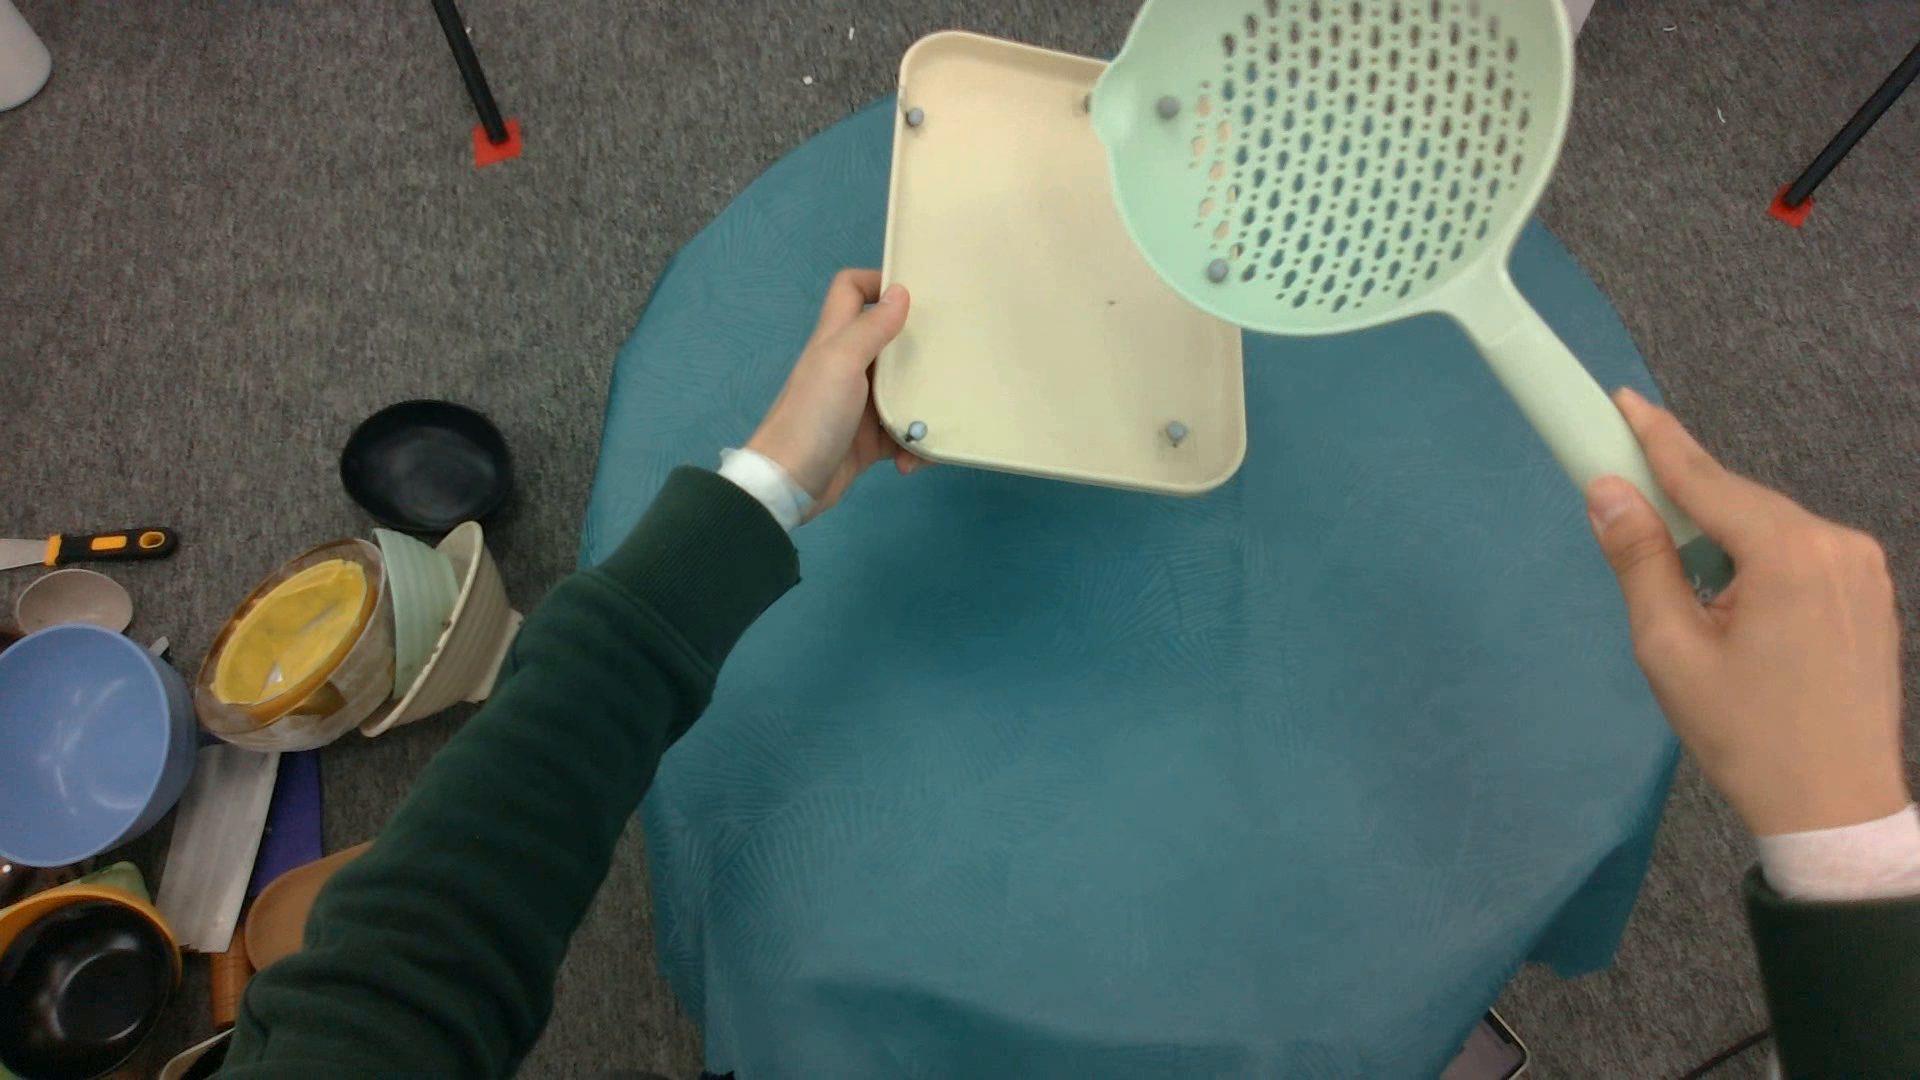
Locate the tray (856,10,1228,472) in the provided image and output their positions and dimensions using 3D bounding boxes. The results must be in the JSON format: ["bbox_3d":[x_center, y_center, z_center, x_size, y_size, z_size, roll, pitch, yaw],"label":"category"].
[{"bbox_3d":[0.039,-0.143,0.646,0.171,0.017,0.240,7,65,-11],"label":"tray"}]

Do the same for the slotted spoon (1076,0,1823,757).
[{"bbox_3d":[0.177,-0.086,0.481,0.168,0.075,0.359,-38,61,24],"label":"slotted spoon"}]
